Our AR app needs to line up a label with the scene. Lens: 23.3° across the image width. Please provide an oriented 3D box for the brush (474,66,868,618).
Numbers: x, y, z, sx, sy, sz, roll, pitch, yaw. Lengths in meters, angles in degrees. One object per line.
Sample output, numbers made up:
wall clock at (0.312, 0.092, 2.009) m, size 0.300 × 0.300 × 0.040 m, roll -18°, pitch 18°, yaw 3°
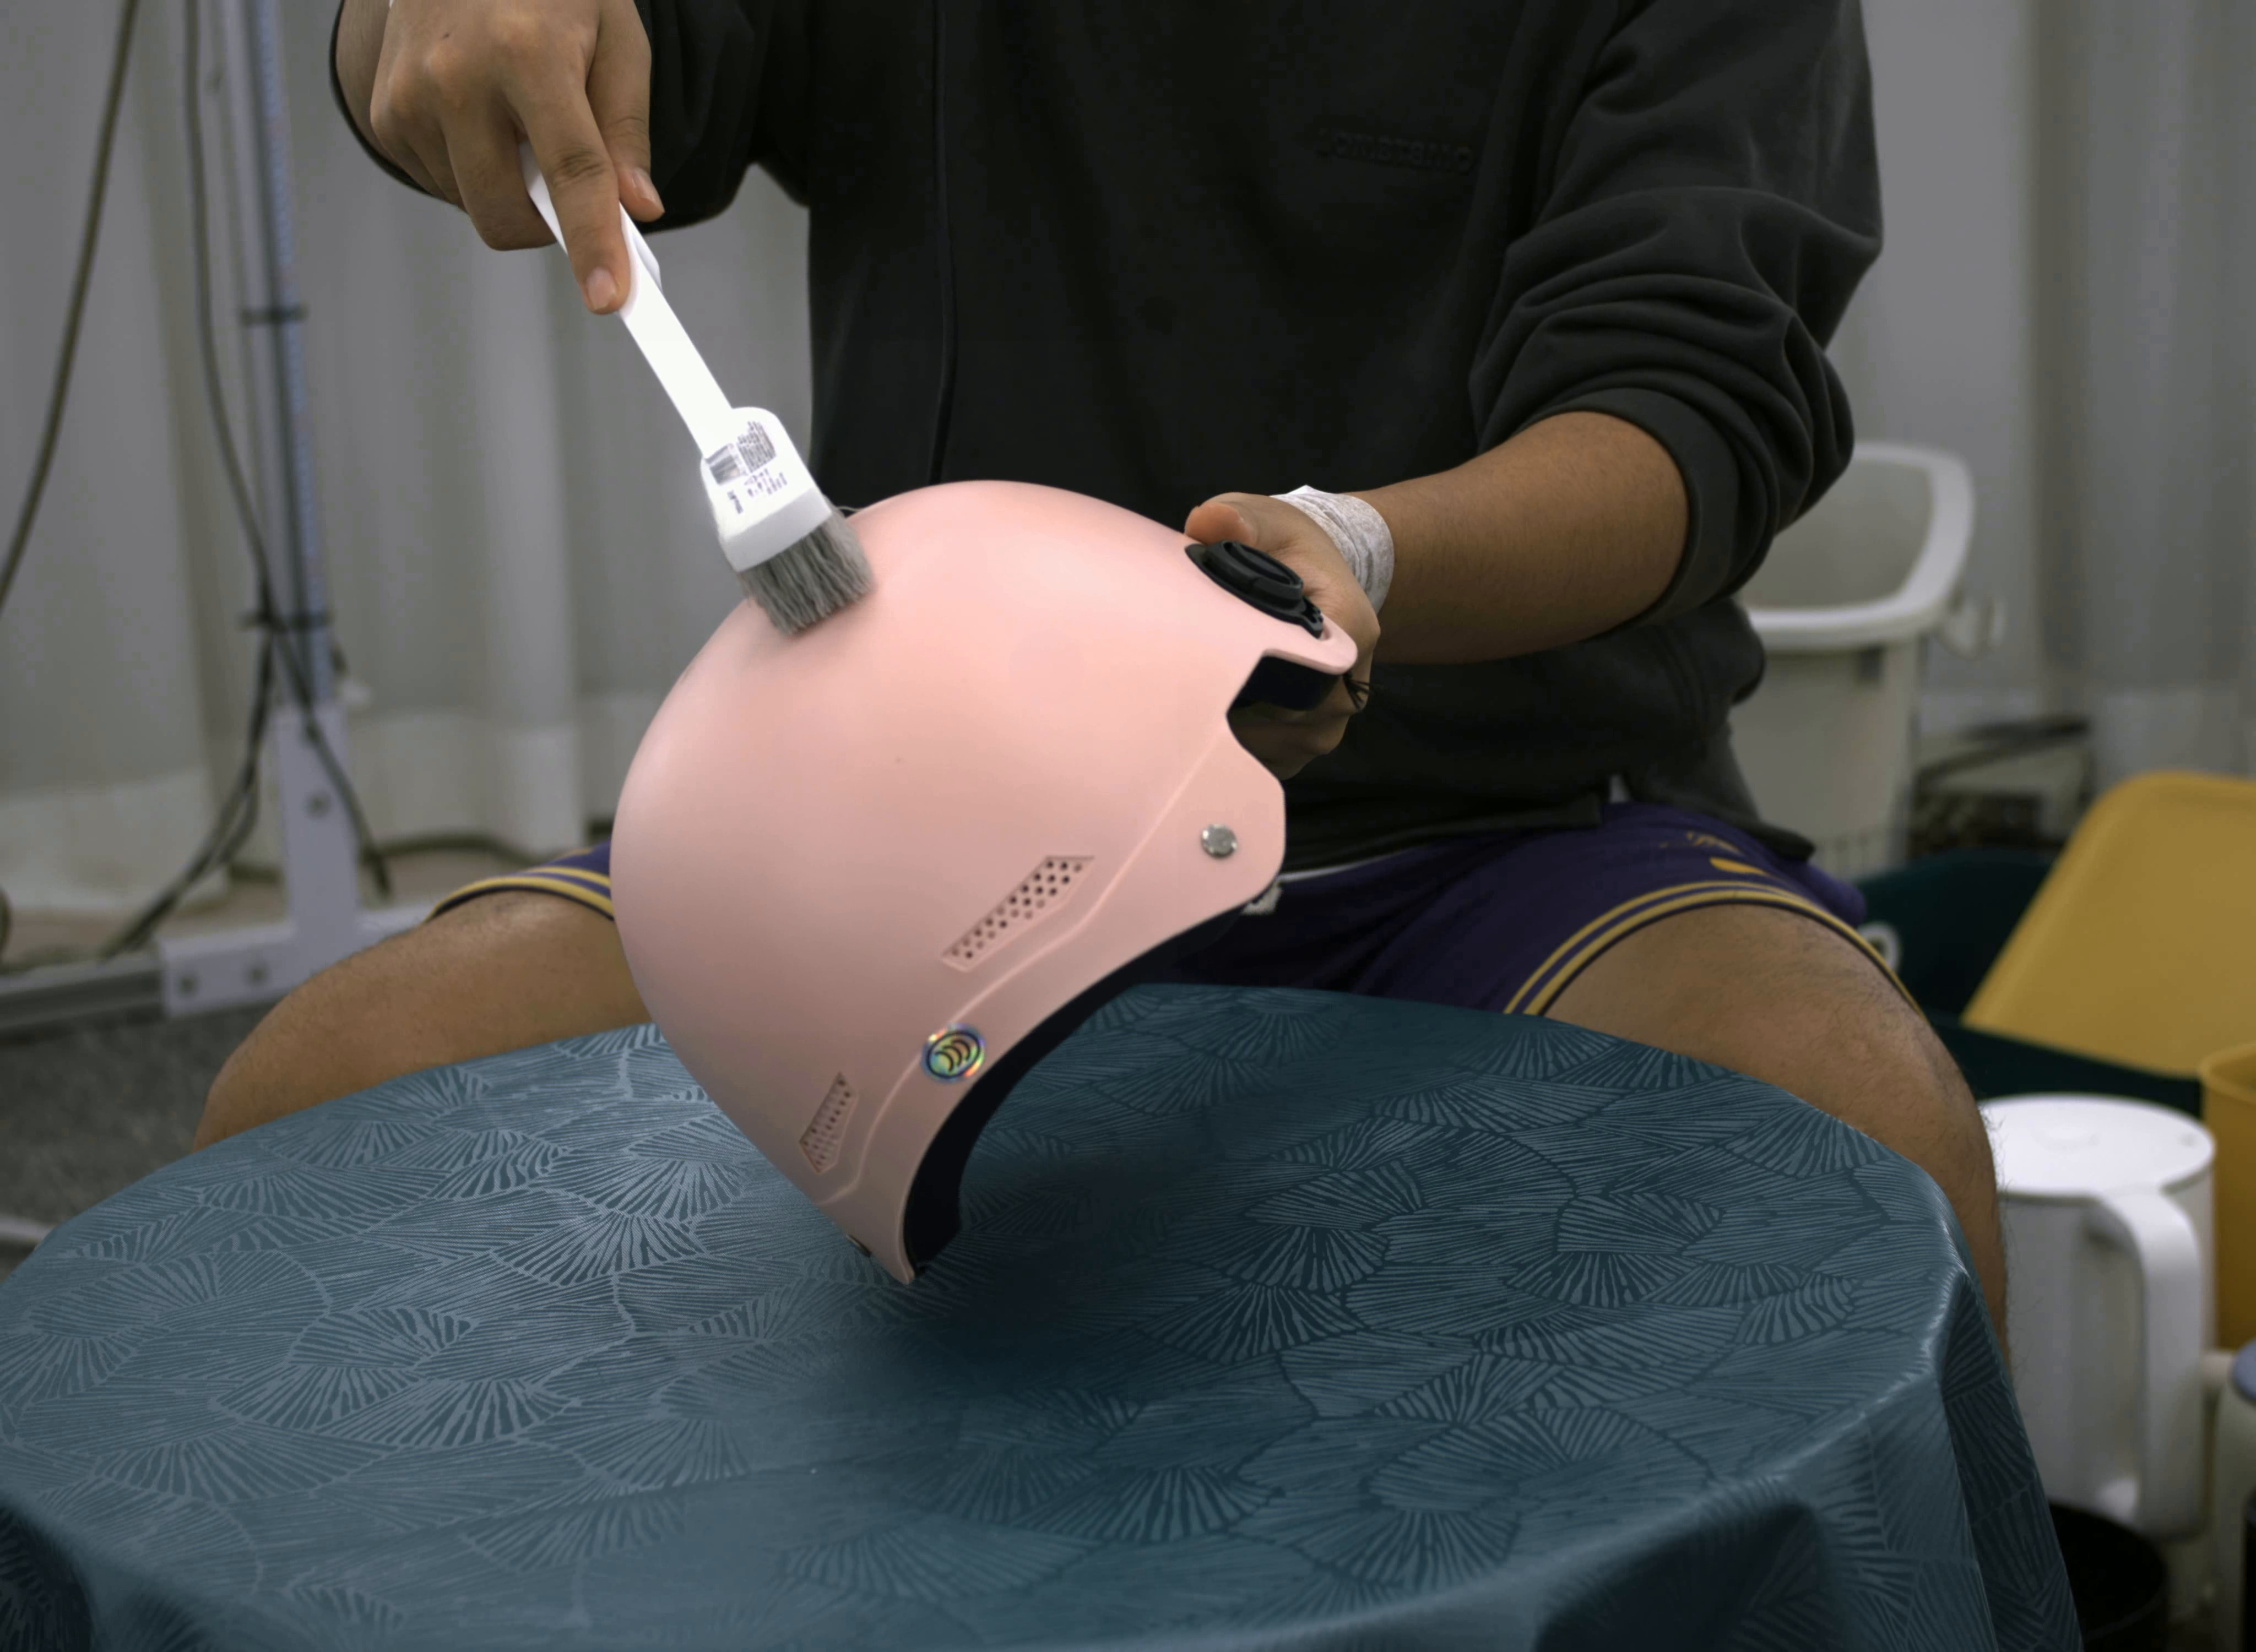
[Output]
brush at (-0.136, -0.144, 1.617) m, size 0.034 × 0.049 × 0.247 m, roll -31°, pitch 47°, yaw -3°

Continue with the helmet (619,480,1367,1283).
helmet at (-0.057, -0.010, 1.622) m, size 0.158 × 0.233 × 0.268 m, roll 38°, pitch 24°, yaw -6°
